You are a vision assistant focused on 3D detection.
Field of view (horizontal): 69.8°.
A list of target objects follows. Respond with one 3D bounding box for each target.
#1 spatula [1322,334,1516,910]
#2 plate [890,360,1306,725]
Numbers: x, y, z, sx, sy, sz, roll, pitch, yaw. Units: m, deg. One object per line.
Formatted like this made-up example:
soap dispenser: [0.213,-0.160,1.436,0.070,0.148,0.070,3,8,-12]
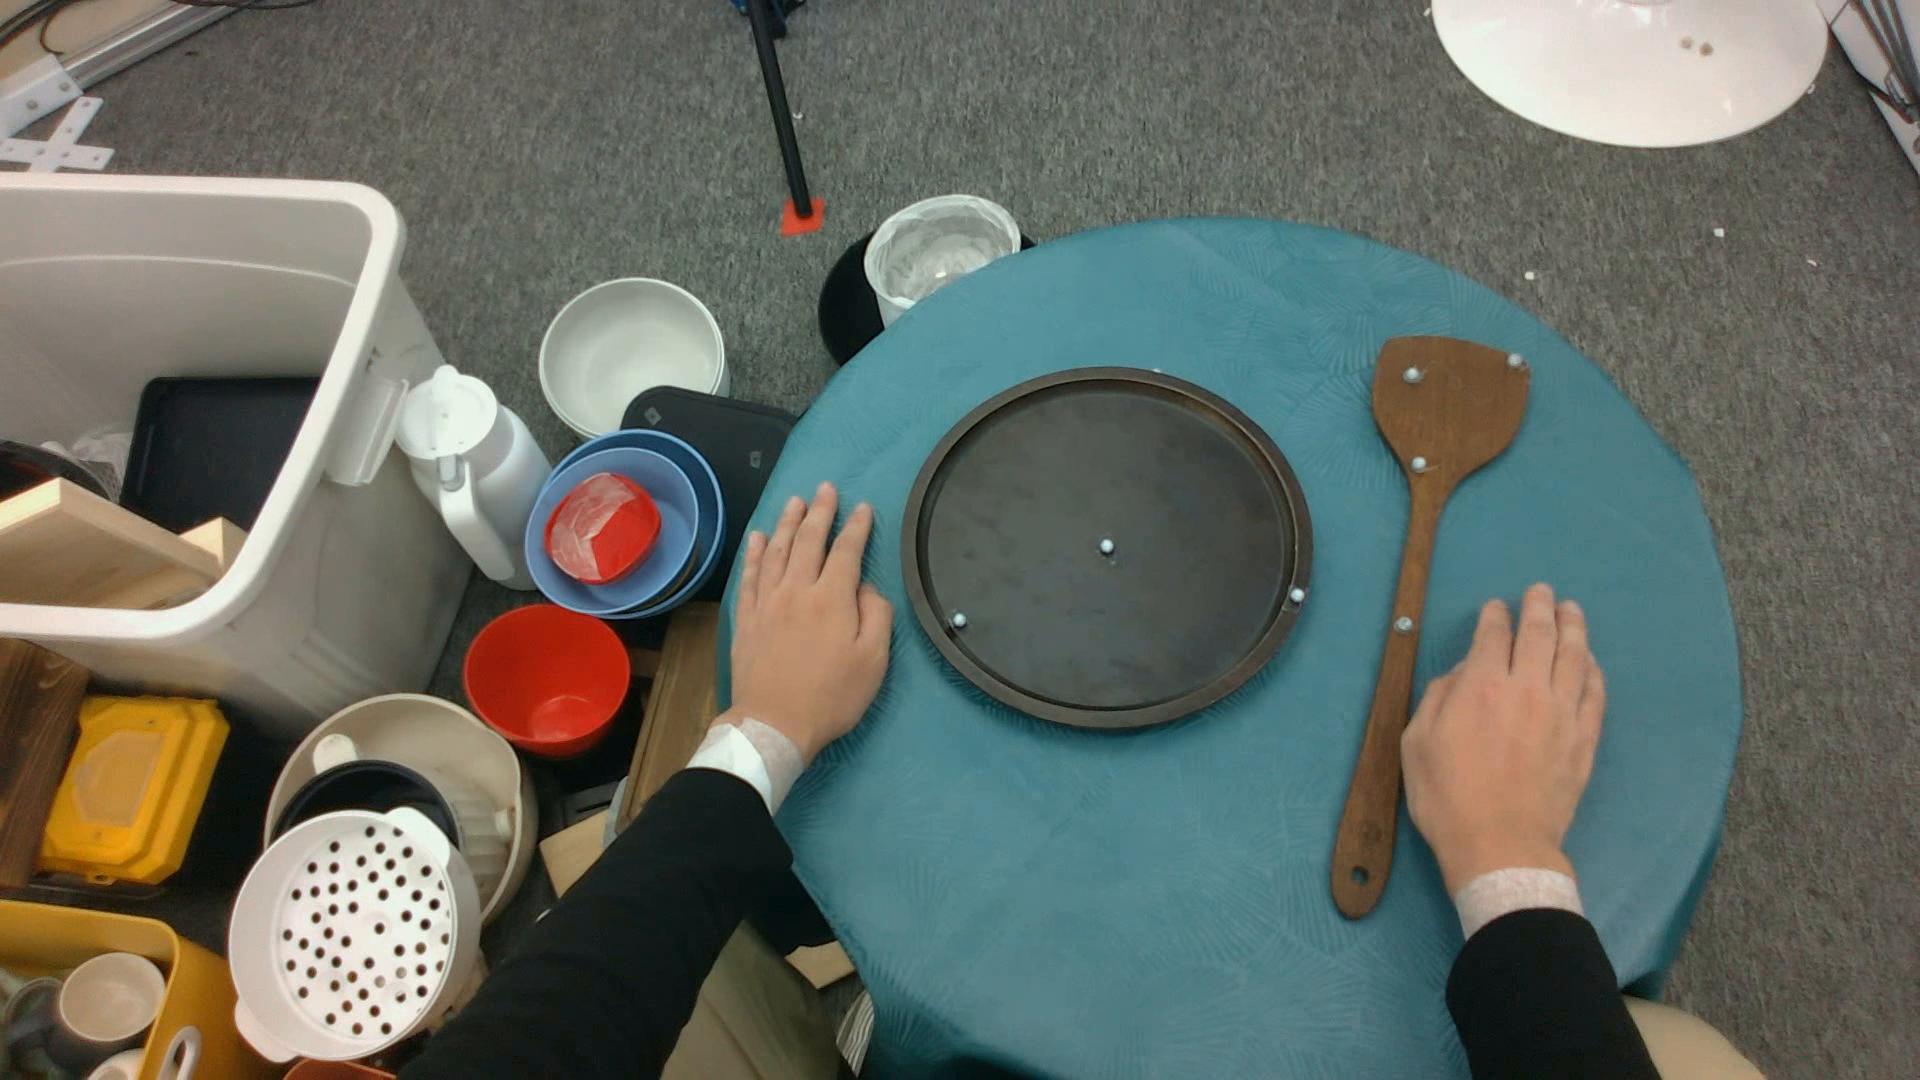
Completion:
spatula: [0.261,0.032,0.820,0.096,0.016,0.387,13,63,12]
plate: [0.083,-0.004,0.849,0.255,0.029,0.256,-1,61,2]
